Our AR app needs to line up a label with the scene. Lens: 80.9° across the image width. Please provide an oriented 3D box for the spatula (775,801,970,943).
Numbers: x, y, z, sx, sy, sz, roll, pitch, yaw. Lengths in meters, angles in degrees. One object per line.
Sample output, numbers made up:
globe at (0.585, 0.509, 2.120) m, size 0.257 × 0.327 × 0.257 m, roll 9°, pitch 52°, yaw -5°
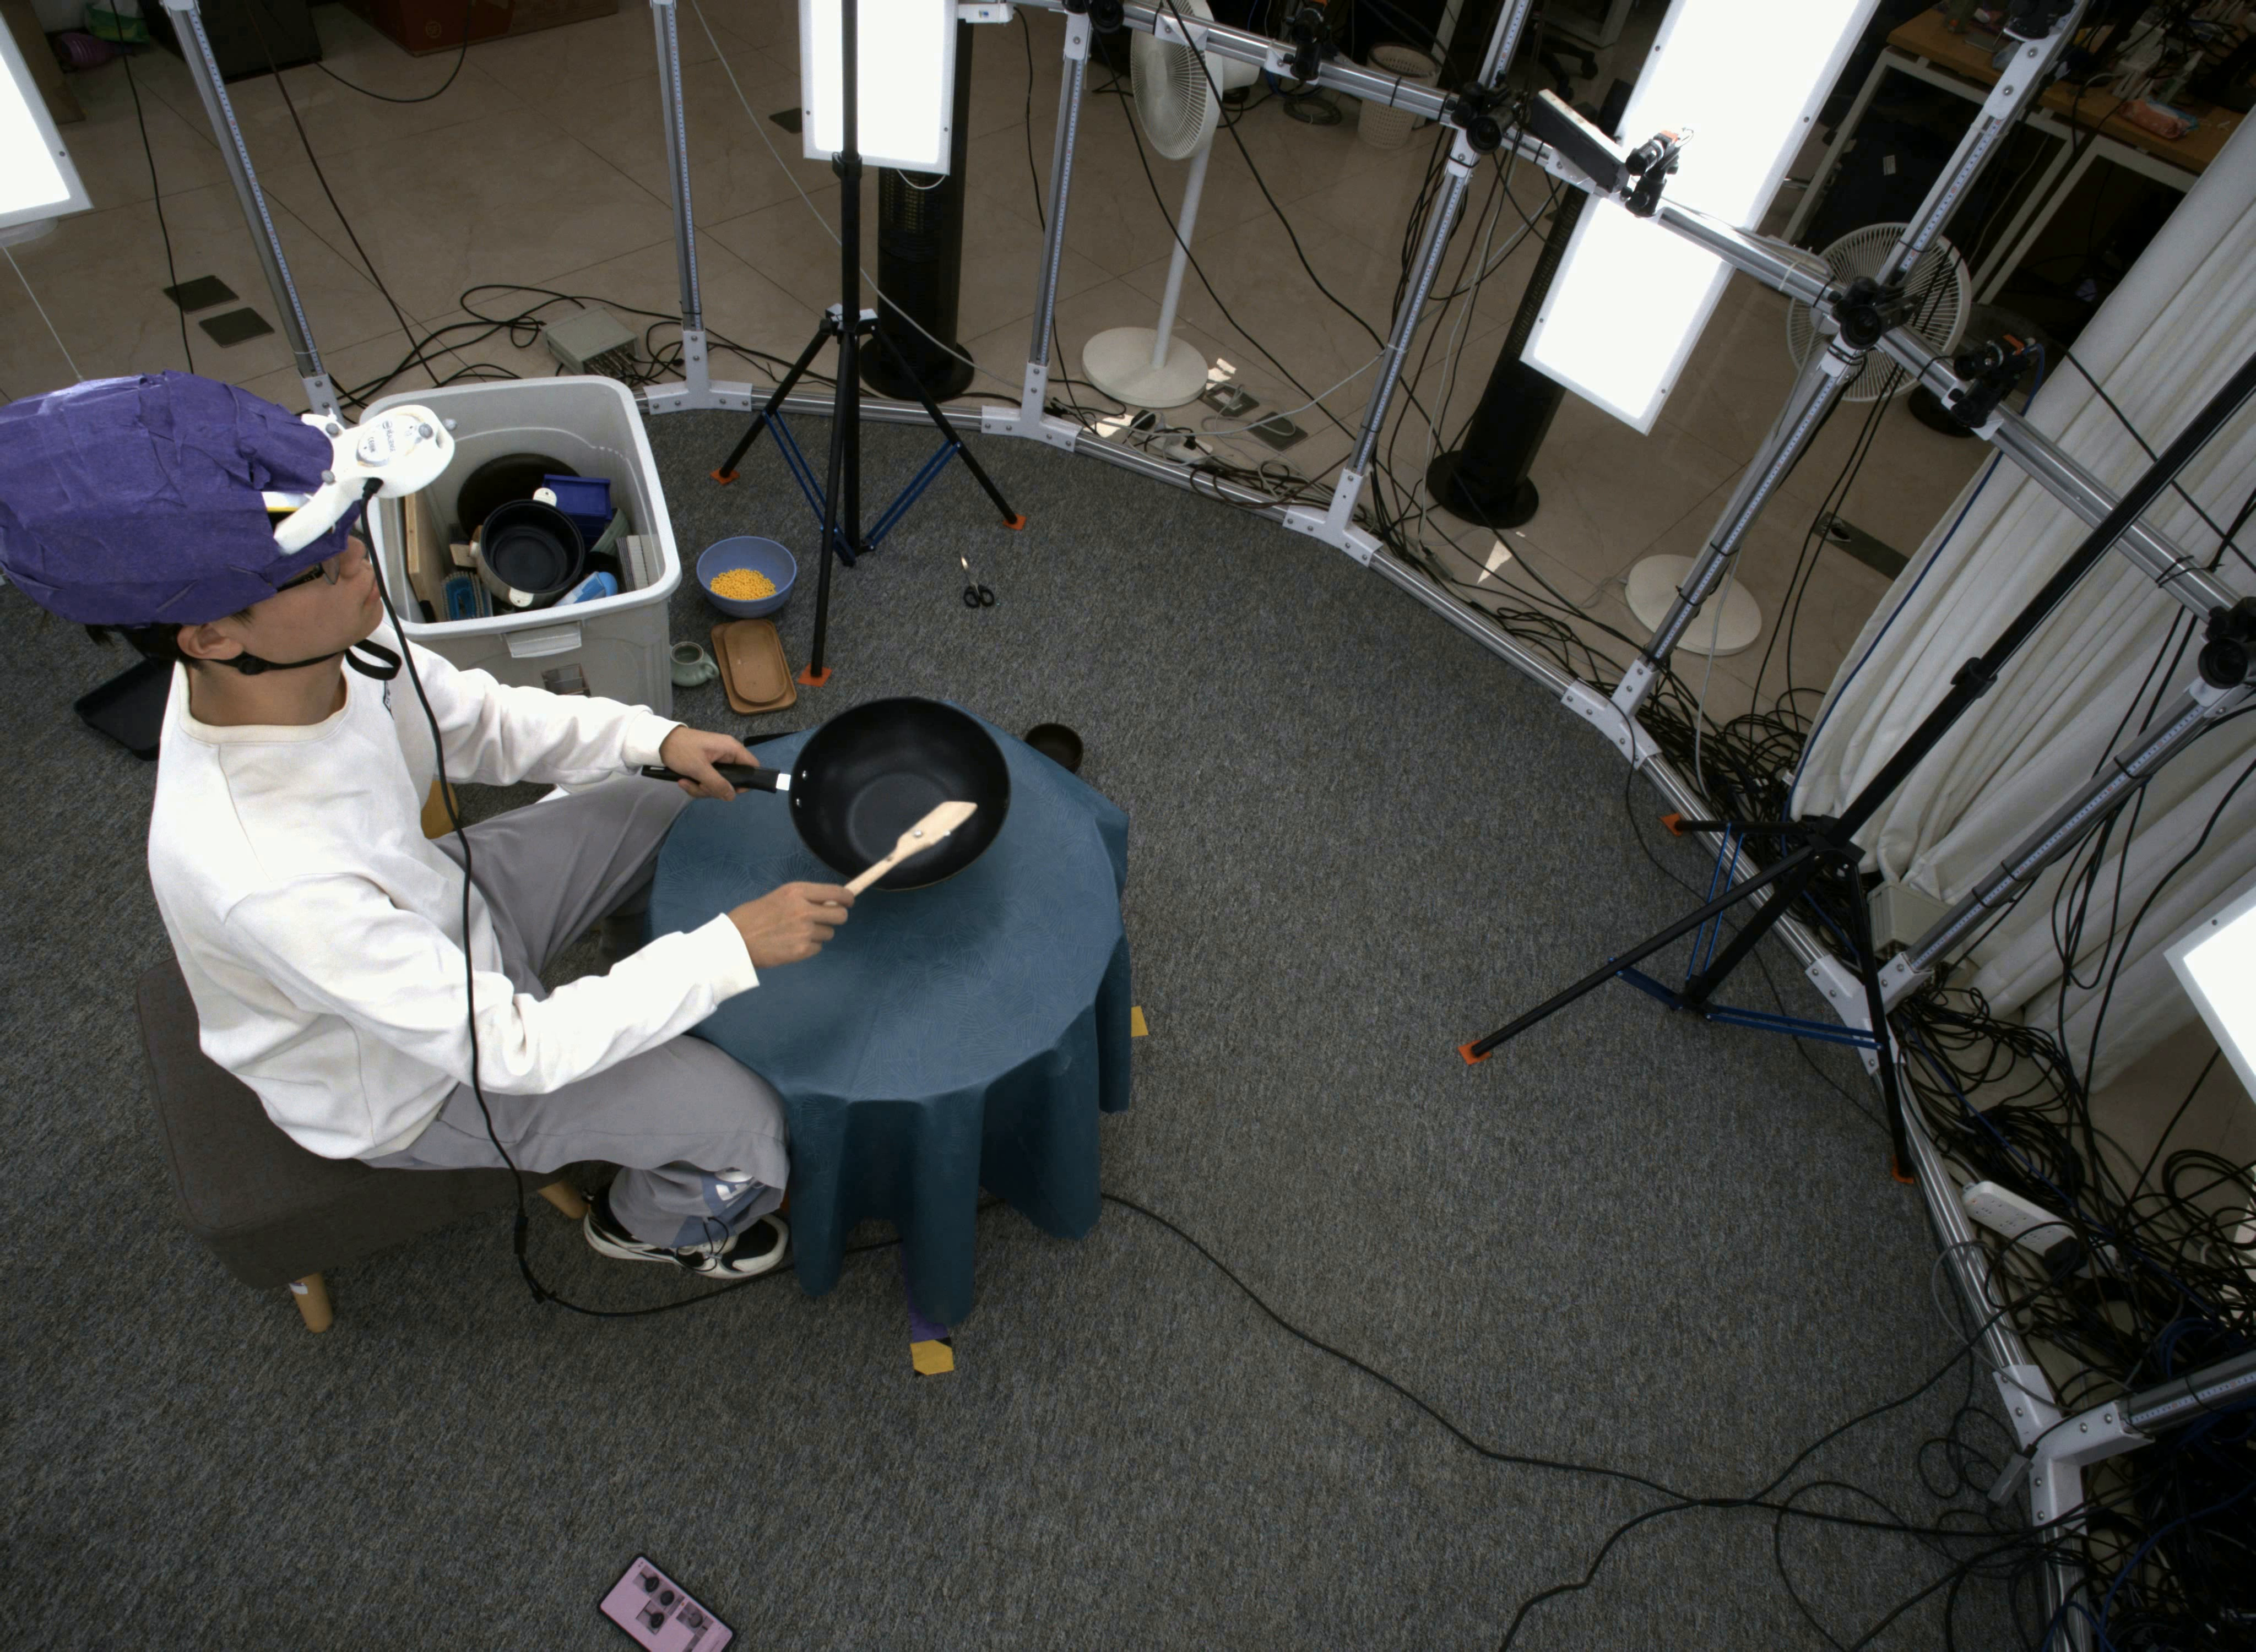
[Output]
spatula at (-0.303, 0.050, 1.538) m, size 0.070 × 0.011 × 0.293 m, roll 3°, pitch 35°, yaw 45°

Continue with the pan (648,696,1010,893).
pan at (-0.380, -0.037, 1.662) m, size 0.460 × 0.088 × 0.284 m, roll 5°, pitch 61°, yaw -5°
